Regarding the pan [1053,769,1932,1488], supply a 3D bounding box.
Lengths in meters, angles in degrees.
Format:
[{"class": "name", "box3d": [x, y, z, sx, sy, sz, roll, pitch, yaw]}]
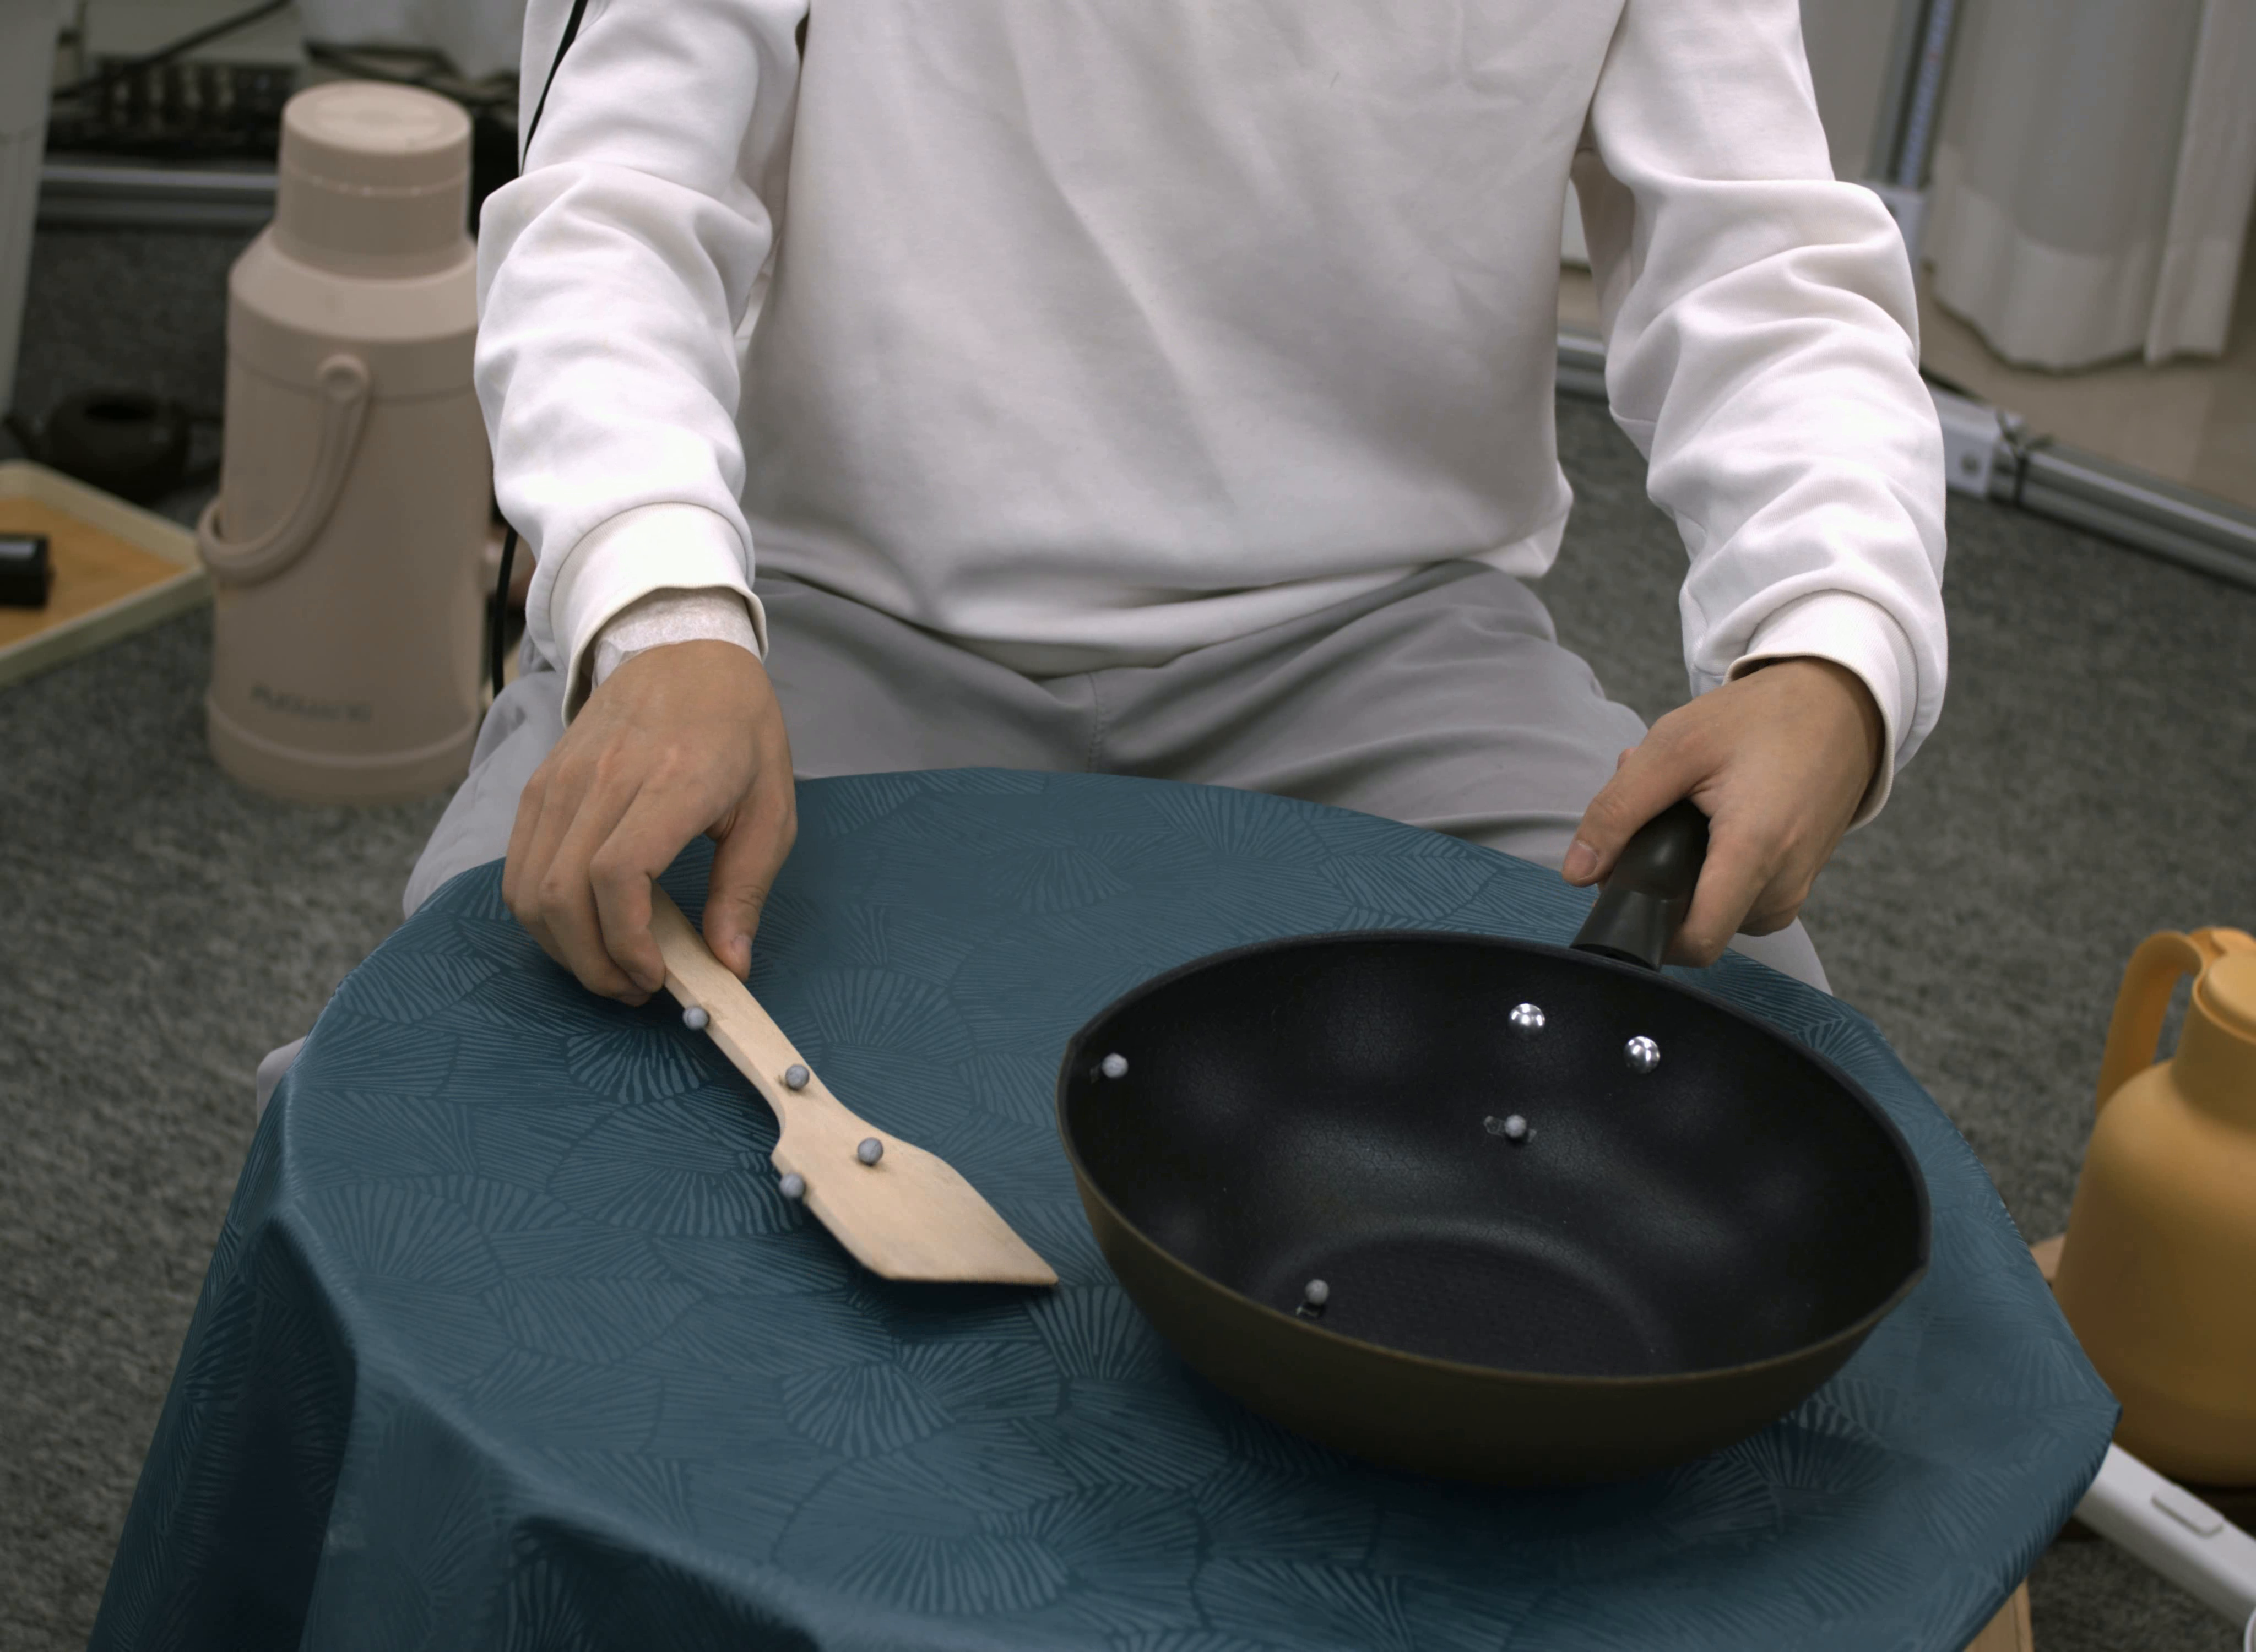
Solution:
[{"class": "pan", "box3d": [0.143, 0.099, 1.795, 0.288, 0.086, 0.464, 15, 27, 15]}]

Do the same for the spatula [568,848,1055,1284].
[{"class": "spatula", "box3d": [-0.123, 0.080, 1.831, 0.071, 0.010, 0.296, 3, 27, -35]}]
